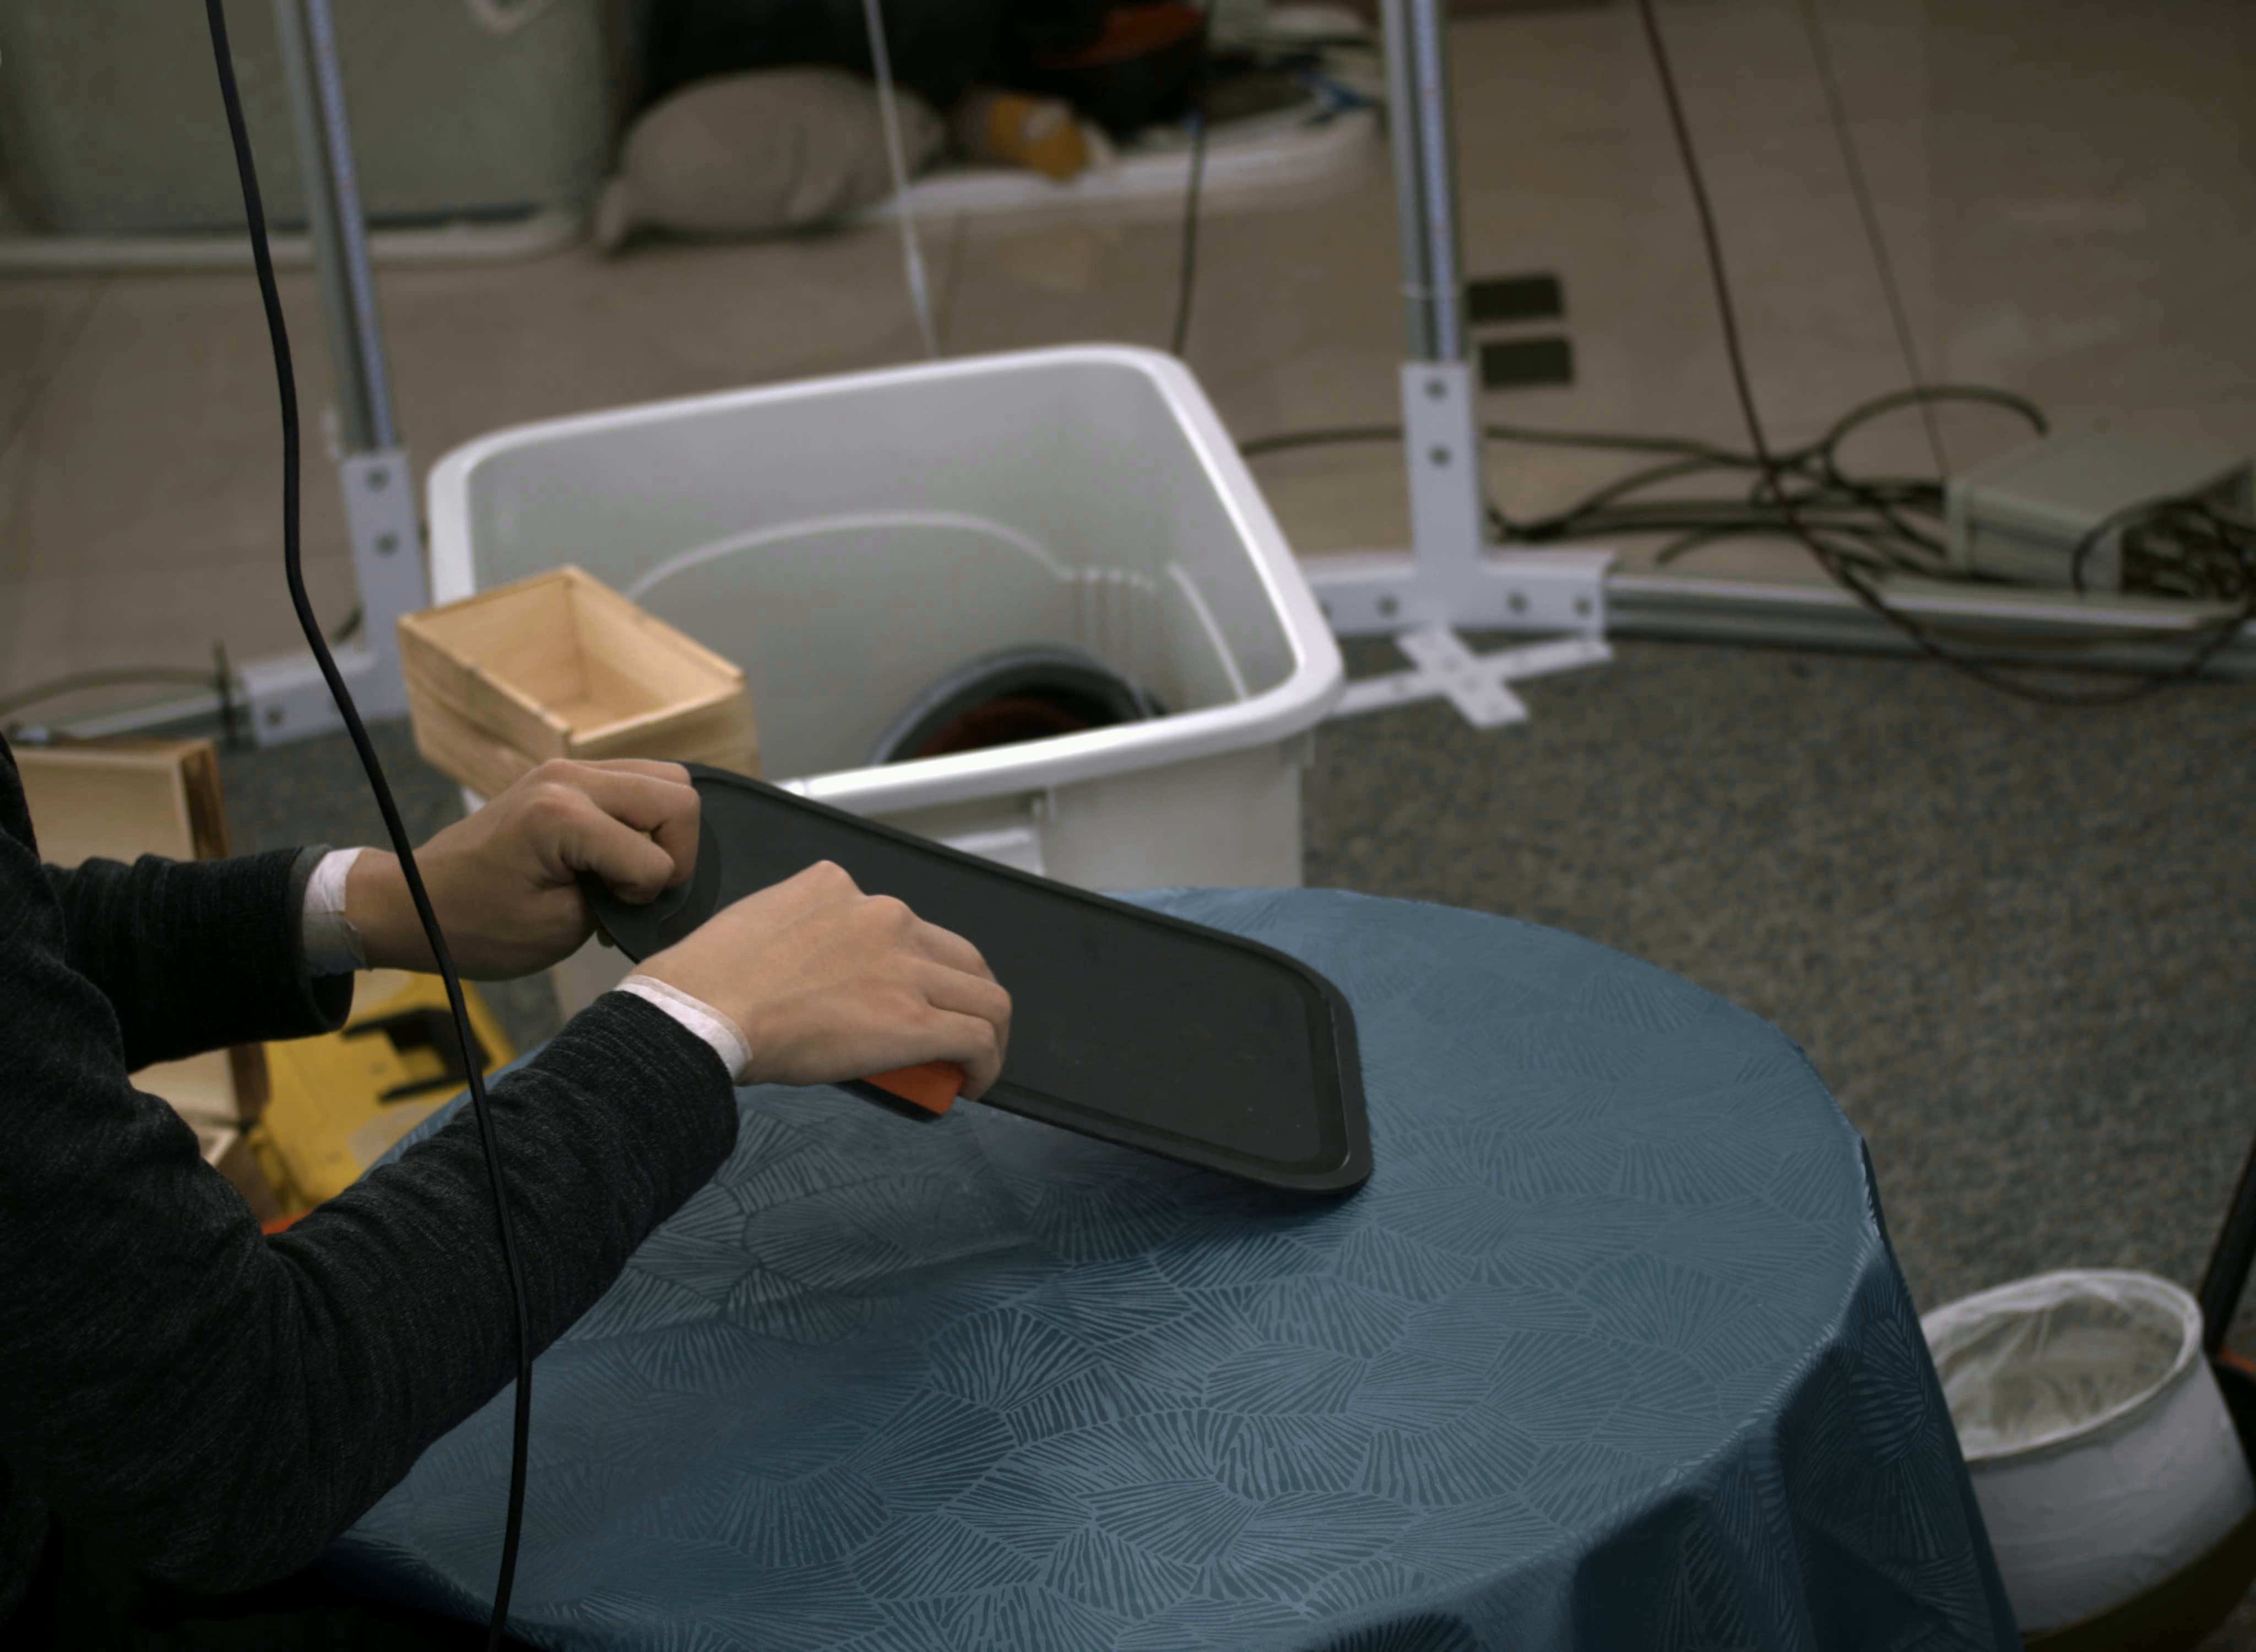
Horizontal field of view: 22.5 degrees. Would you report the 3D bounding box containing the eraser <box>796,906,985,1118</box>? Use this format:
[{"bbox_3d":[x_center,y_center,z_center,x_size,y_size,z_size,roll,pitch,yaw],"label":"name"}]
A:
[{"bbox_3d":[-0.087,0.068,2.083,0.059,0.023,0.106,19,24,-4],"label":"eraser"}]

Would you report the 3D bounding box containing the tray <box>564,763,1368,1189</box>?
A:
[{"bbox_3d":[-0.061,0.052,2.174,0.325,0.010,0.208,19,23,-9],"label":"tray"}]
